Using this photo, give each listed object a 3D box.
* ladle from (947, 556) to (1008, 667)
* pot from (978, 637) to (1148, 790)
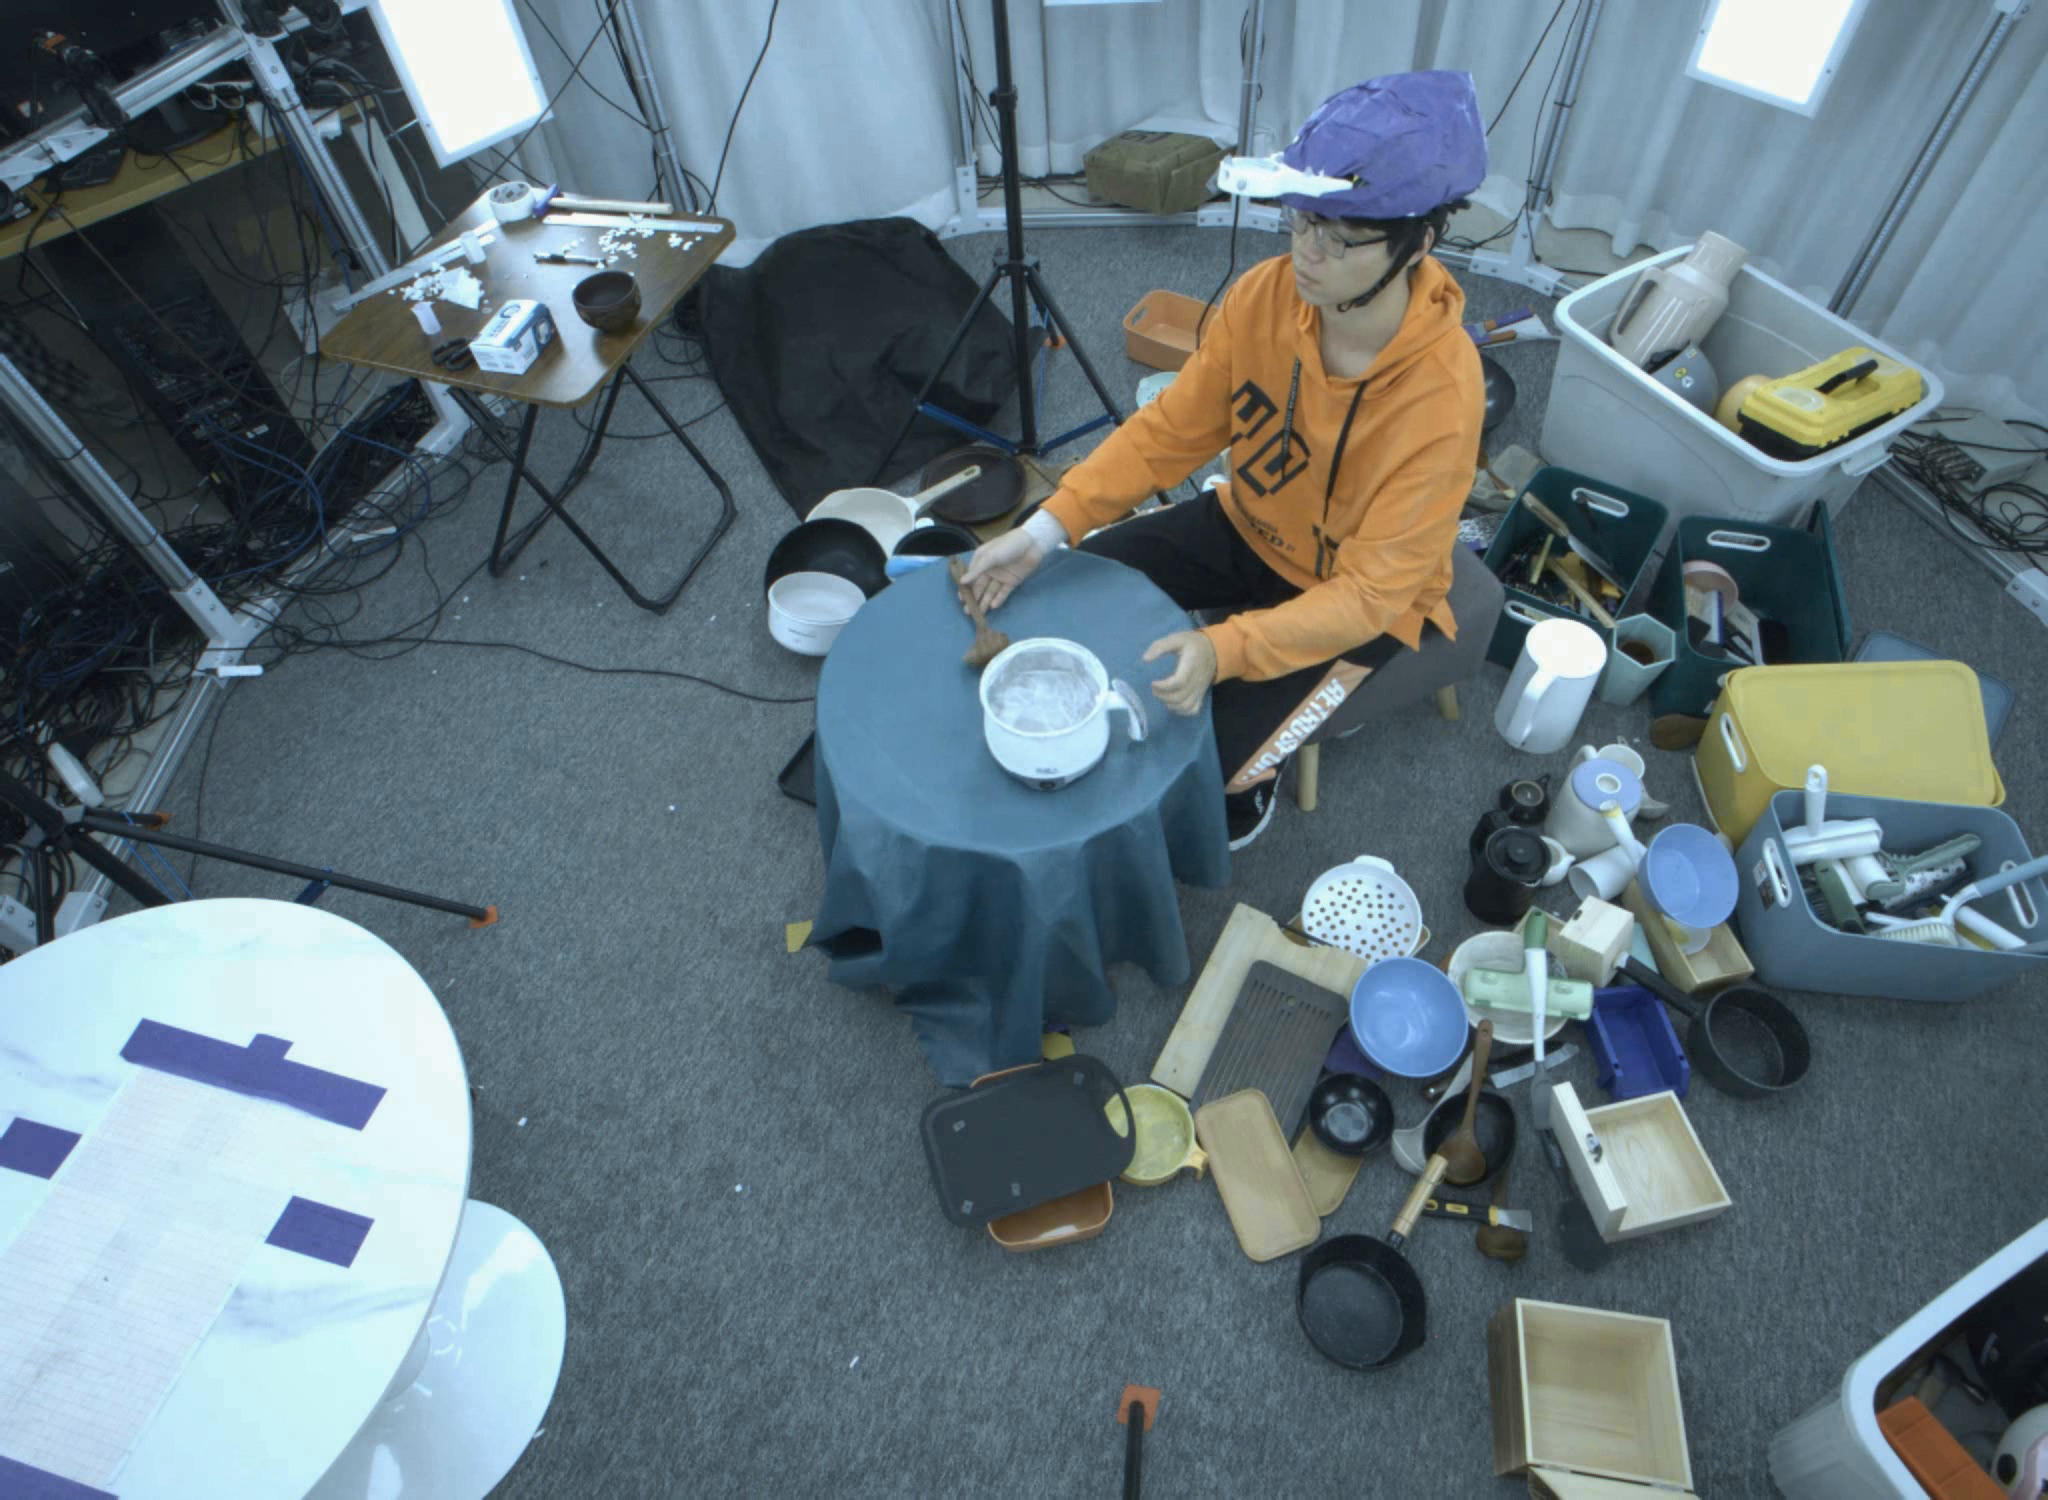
[{"bbox_3d":[-0.086,-0.228,1.912,0.076,0.066,0.256,-23,57,4],"label":"ladle"},{"bbox_3d":[0.058,-0.052,1.737,0.233,0.138,0.177,-3,55,1],"label":"pot"}]
